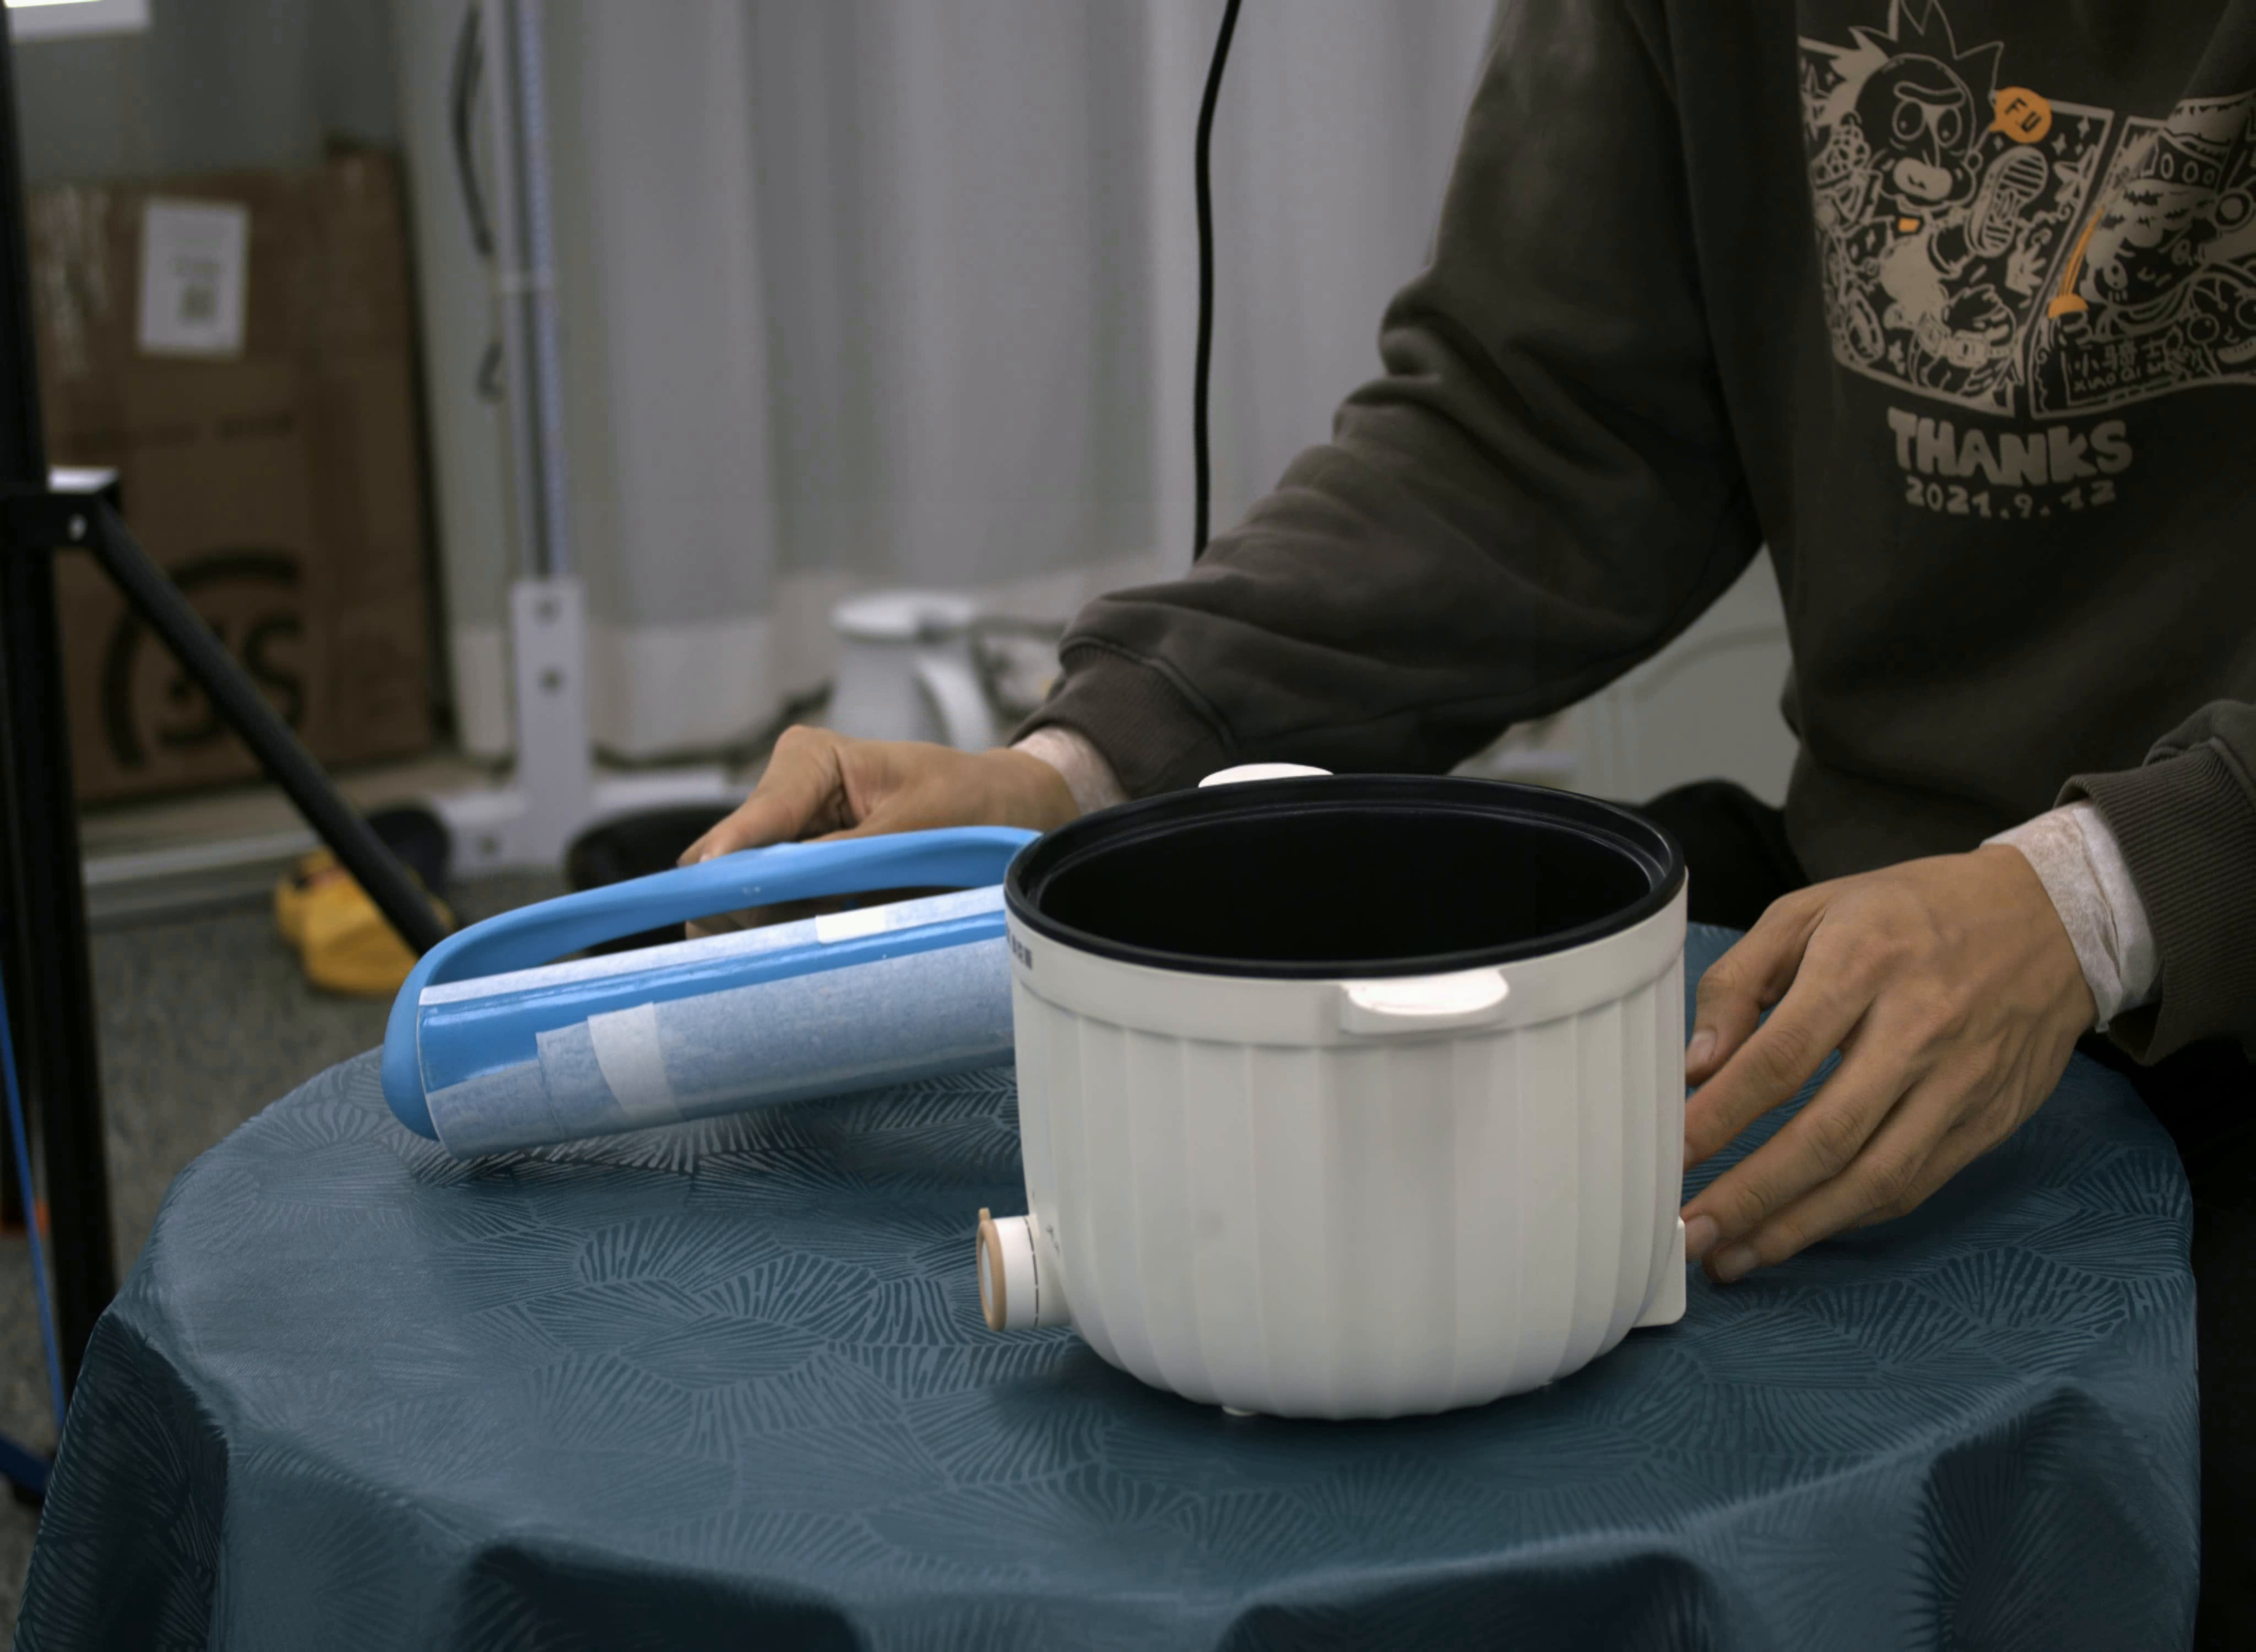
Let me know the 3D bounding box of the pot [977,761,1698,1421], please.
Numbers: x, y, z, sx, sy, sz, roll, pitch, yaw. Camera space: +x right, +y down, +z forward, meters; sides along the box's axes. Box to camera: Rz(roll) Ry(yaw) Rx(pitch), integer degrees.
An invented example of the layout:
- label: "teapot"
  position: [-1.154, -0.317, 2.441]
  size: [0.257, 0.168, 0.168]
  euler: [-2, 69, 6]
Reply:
- label: "pot"
  position: [0.055, 0.074, 1.417]
  size: [0.188, 0.143, 0.243]
  euler: [-2, 14, -10]

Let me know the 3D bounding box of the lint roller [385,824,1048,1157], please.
- label: "lint roller"
  position: [-0.111, 0.037, 1.652]
  size: [0.229, 0.067, 0.181]
  euler: [-12, 18, 6]
